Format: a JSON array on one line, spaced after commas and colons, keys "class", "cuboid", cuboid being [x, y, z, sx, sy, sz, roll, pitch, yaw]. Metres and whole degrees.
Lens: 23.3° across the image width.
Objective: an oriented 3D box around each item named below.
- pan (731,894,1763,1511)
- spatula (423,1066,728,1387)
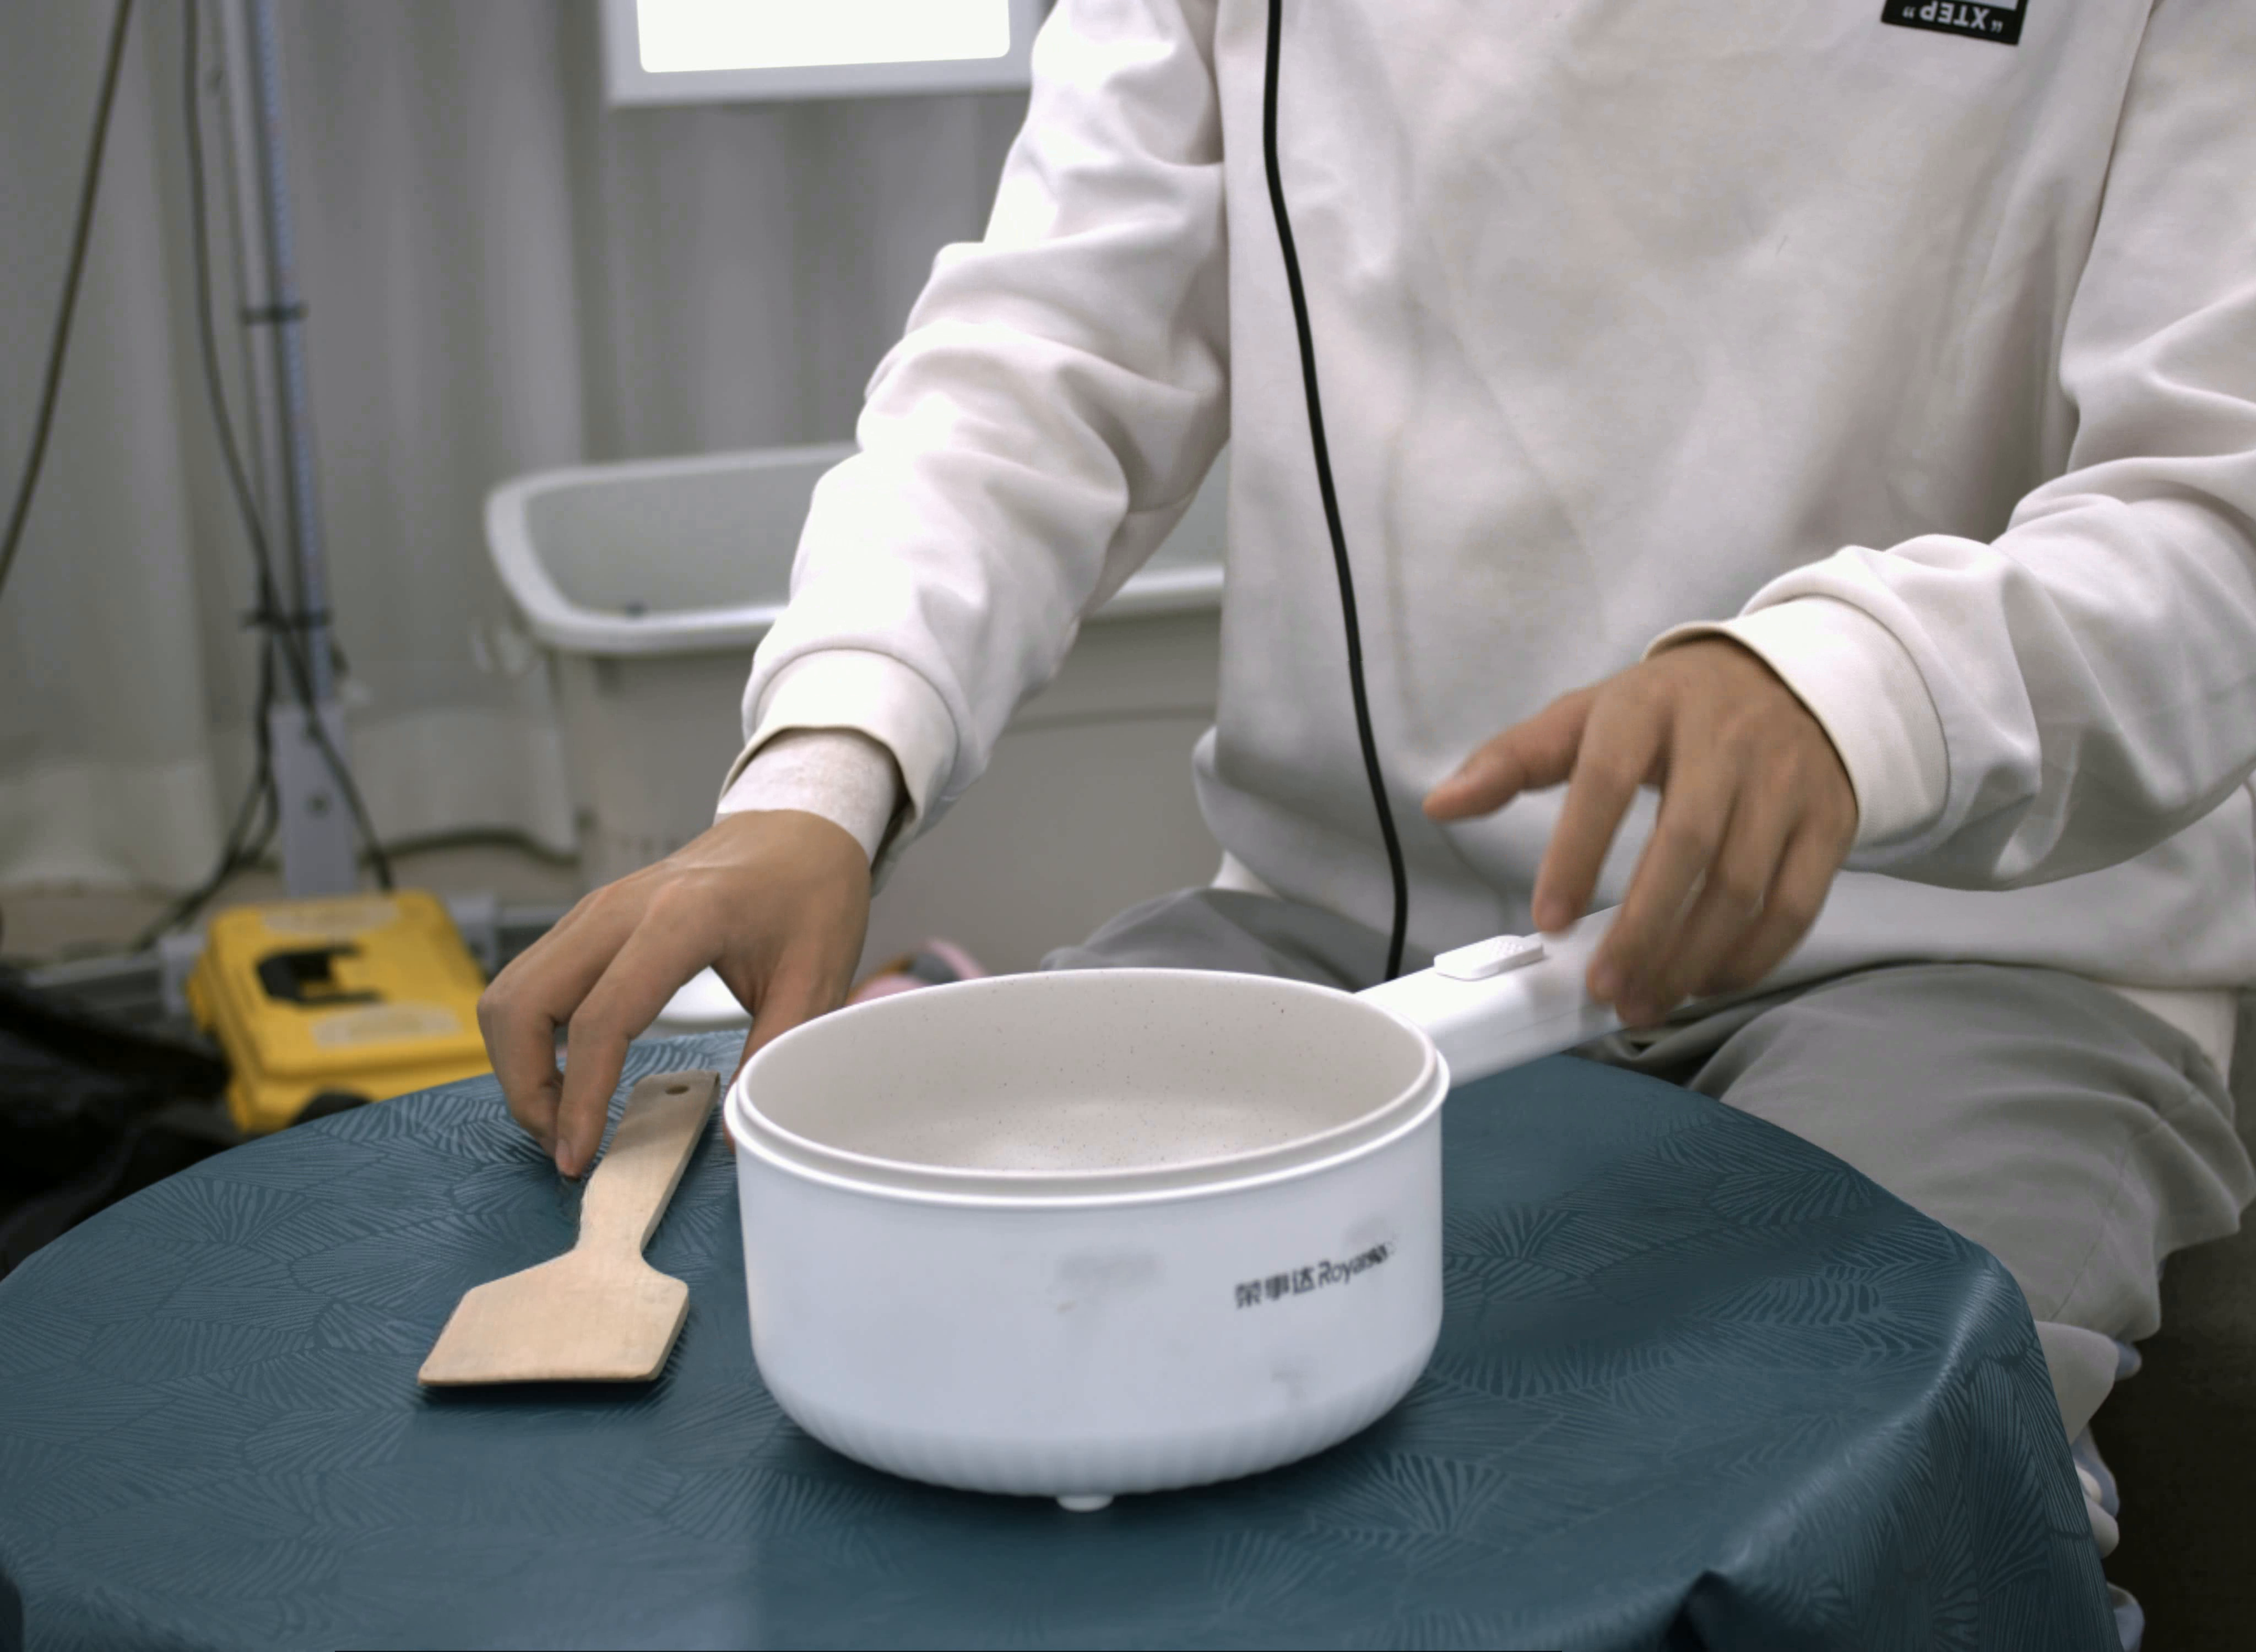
[{"class": "pan", "cuboid": [0.049, 0.101, 1.572, 0.354, 0.102, 0.202, -14, 18, -40]}, {"class": "spatula", "cuboid": [-0.159, 0.122, 1.700, 0.072, 0.010, 0.295, -3, 15, 5]}]
